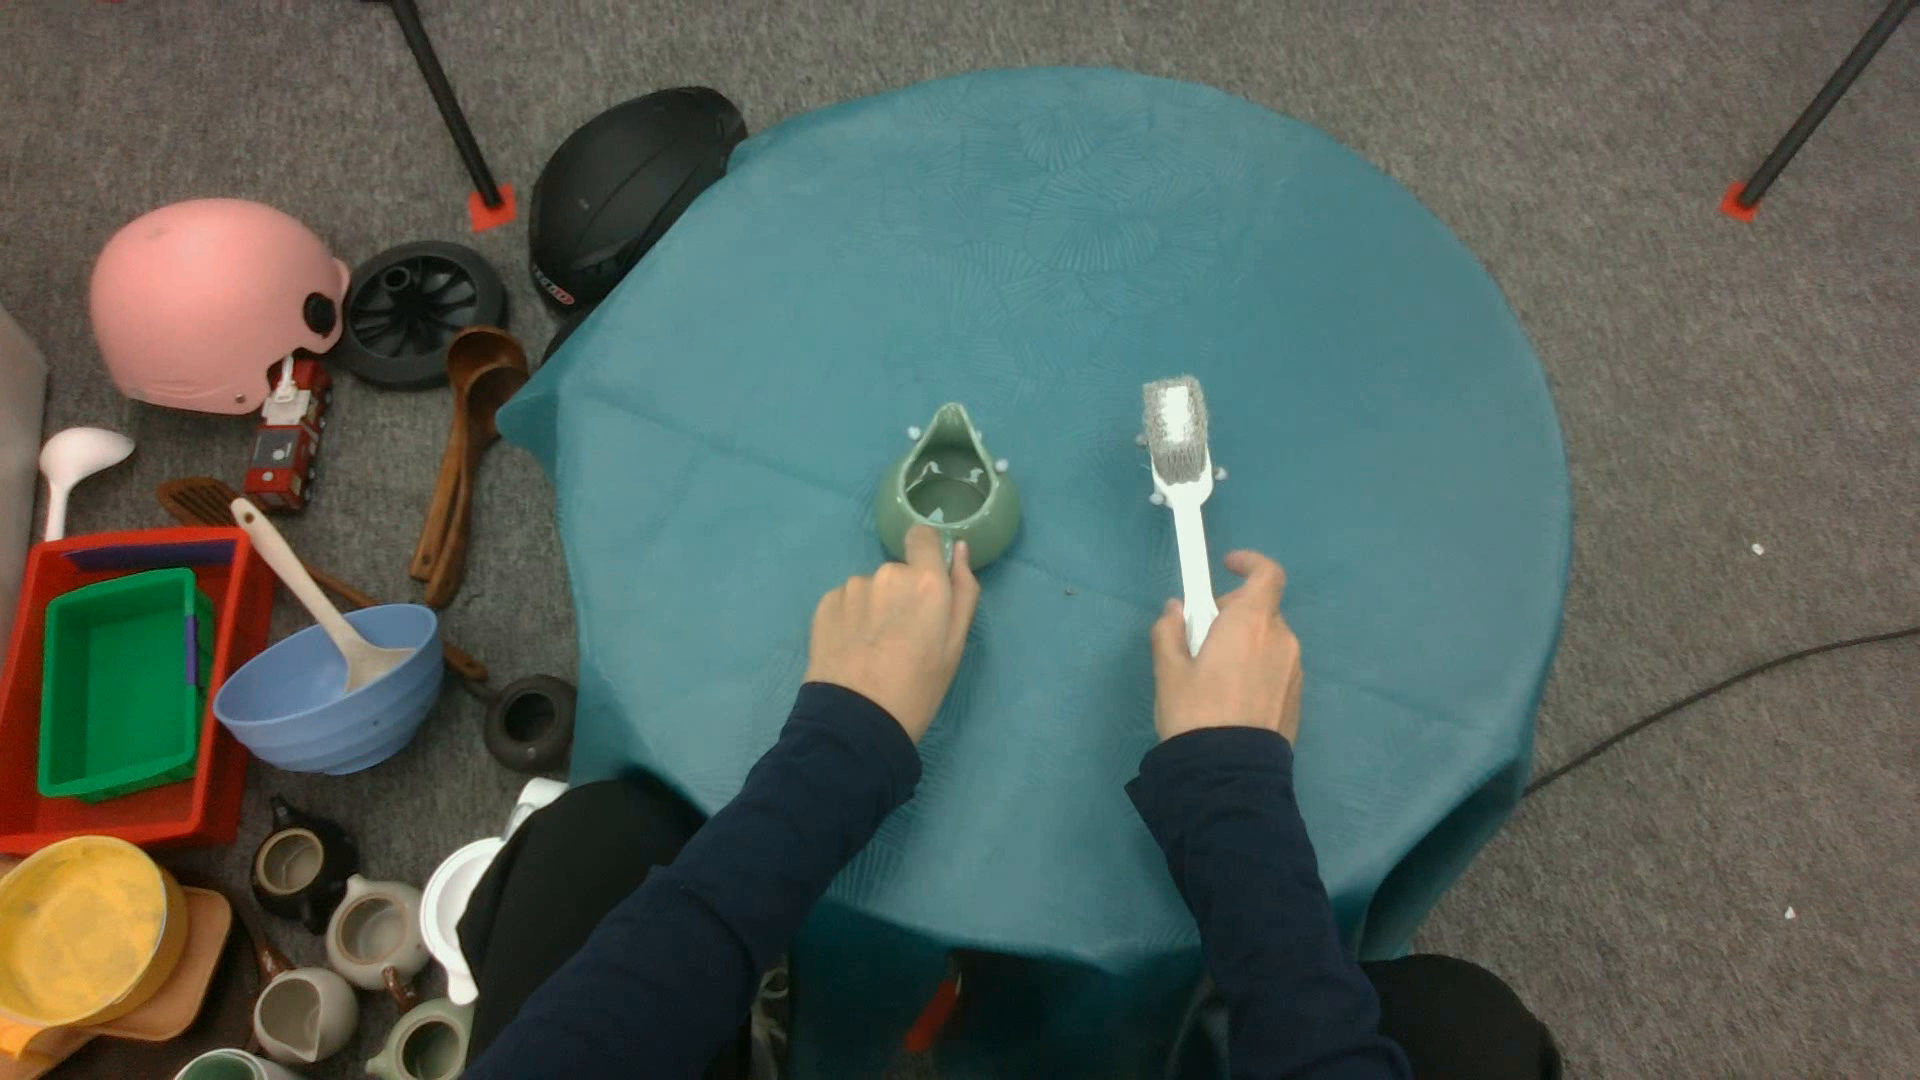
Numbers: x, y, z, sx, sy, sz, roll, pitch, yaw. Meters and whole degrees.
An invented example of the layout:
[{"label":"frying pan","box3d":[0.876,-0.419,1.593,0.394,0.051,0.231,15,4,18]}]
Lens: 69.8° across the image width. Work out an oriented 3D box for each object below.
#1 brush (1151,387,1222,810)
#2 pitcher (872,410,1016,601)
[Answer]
[{"label":"brush","box3d":[0.124,0.022,0.746,0.034,0.050,0.244,-2,61,8]},{"label":"pitcher","box3d":[-0.010,-0.013,0.789,0.084,0.056,0.113,-3,64,1]}]
